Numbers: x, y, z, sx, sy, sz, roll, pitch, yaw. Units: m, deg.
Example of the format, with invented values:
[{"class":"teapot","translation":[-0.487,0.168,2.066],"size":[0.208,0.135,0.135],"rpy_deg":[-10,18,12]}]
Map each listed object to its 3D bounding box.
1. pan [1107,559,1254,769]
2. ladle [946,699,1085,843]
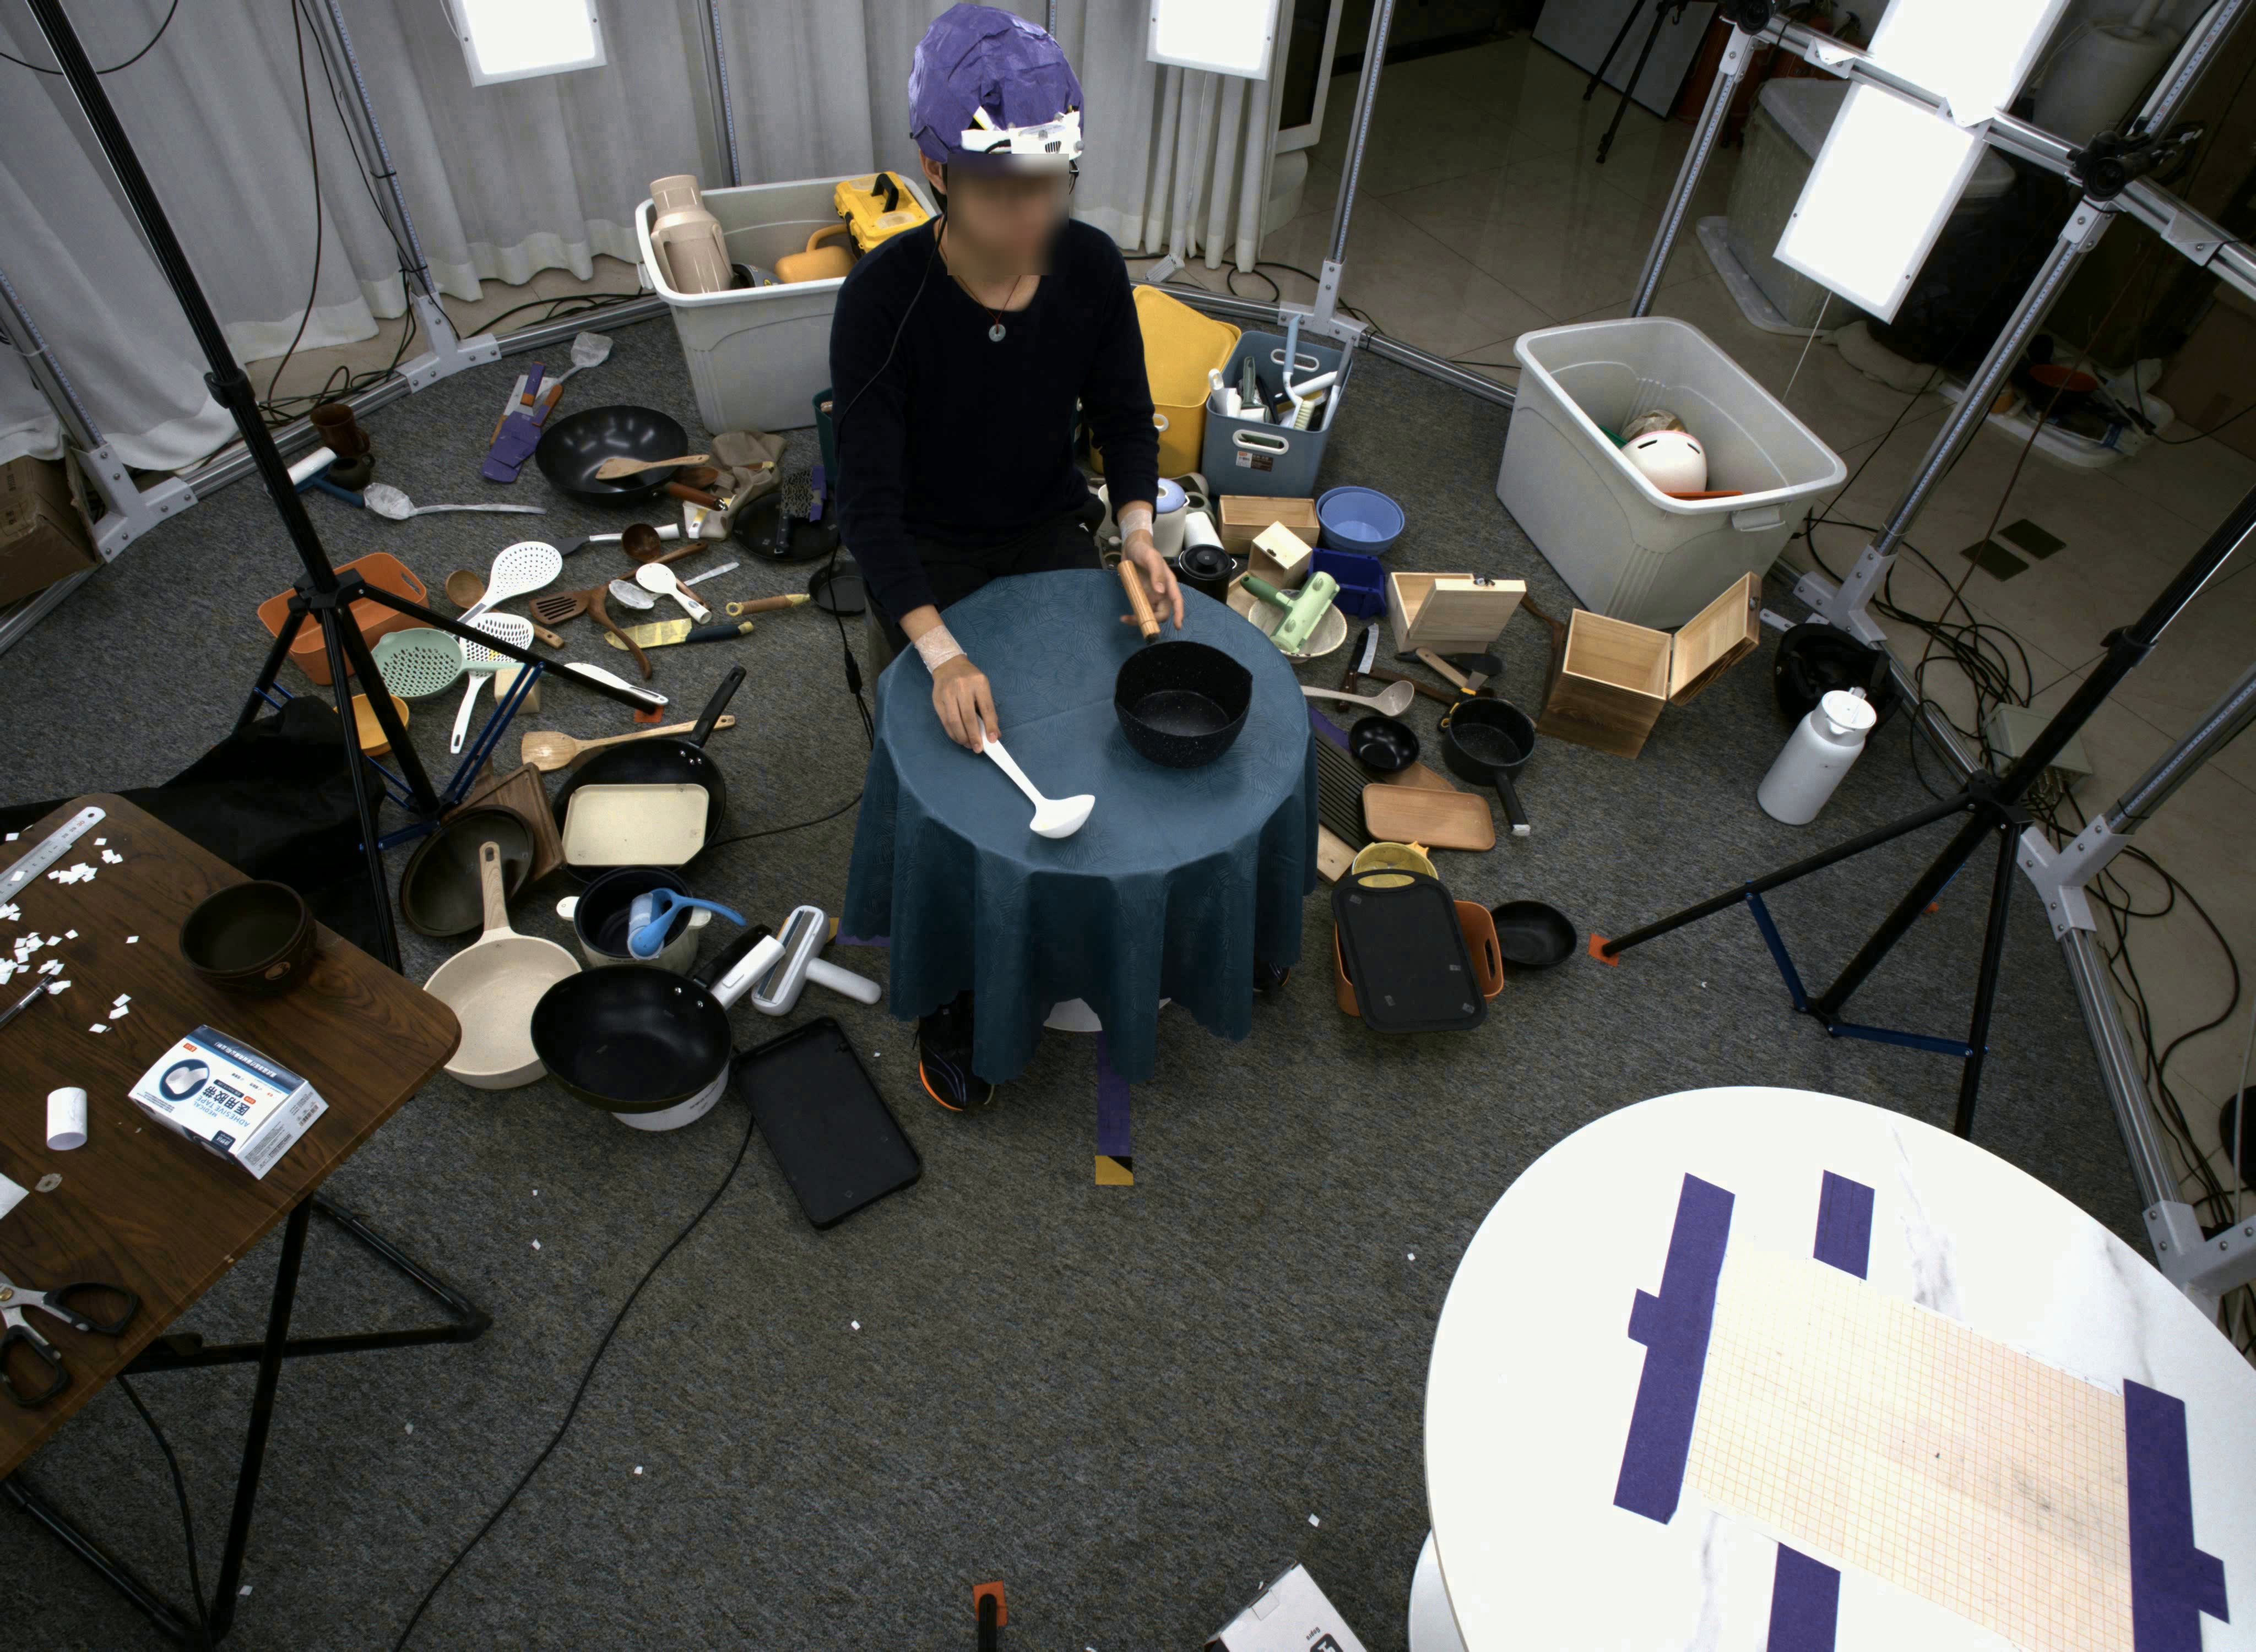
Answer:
[{"class":"pan","translation":[0.046,-0.228,1.800],"size":[0.207,0.105,0.351],"rpy_deg":[-14,53,-14]},{"class":"ladle","translation":[-0.158,-0.081,1.688],"size":[0.090,0.068,0.299],"rpy_deg":[-33,57,-13]}]
